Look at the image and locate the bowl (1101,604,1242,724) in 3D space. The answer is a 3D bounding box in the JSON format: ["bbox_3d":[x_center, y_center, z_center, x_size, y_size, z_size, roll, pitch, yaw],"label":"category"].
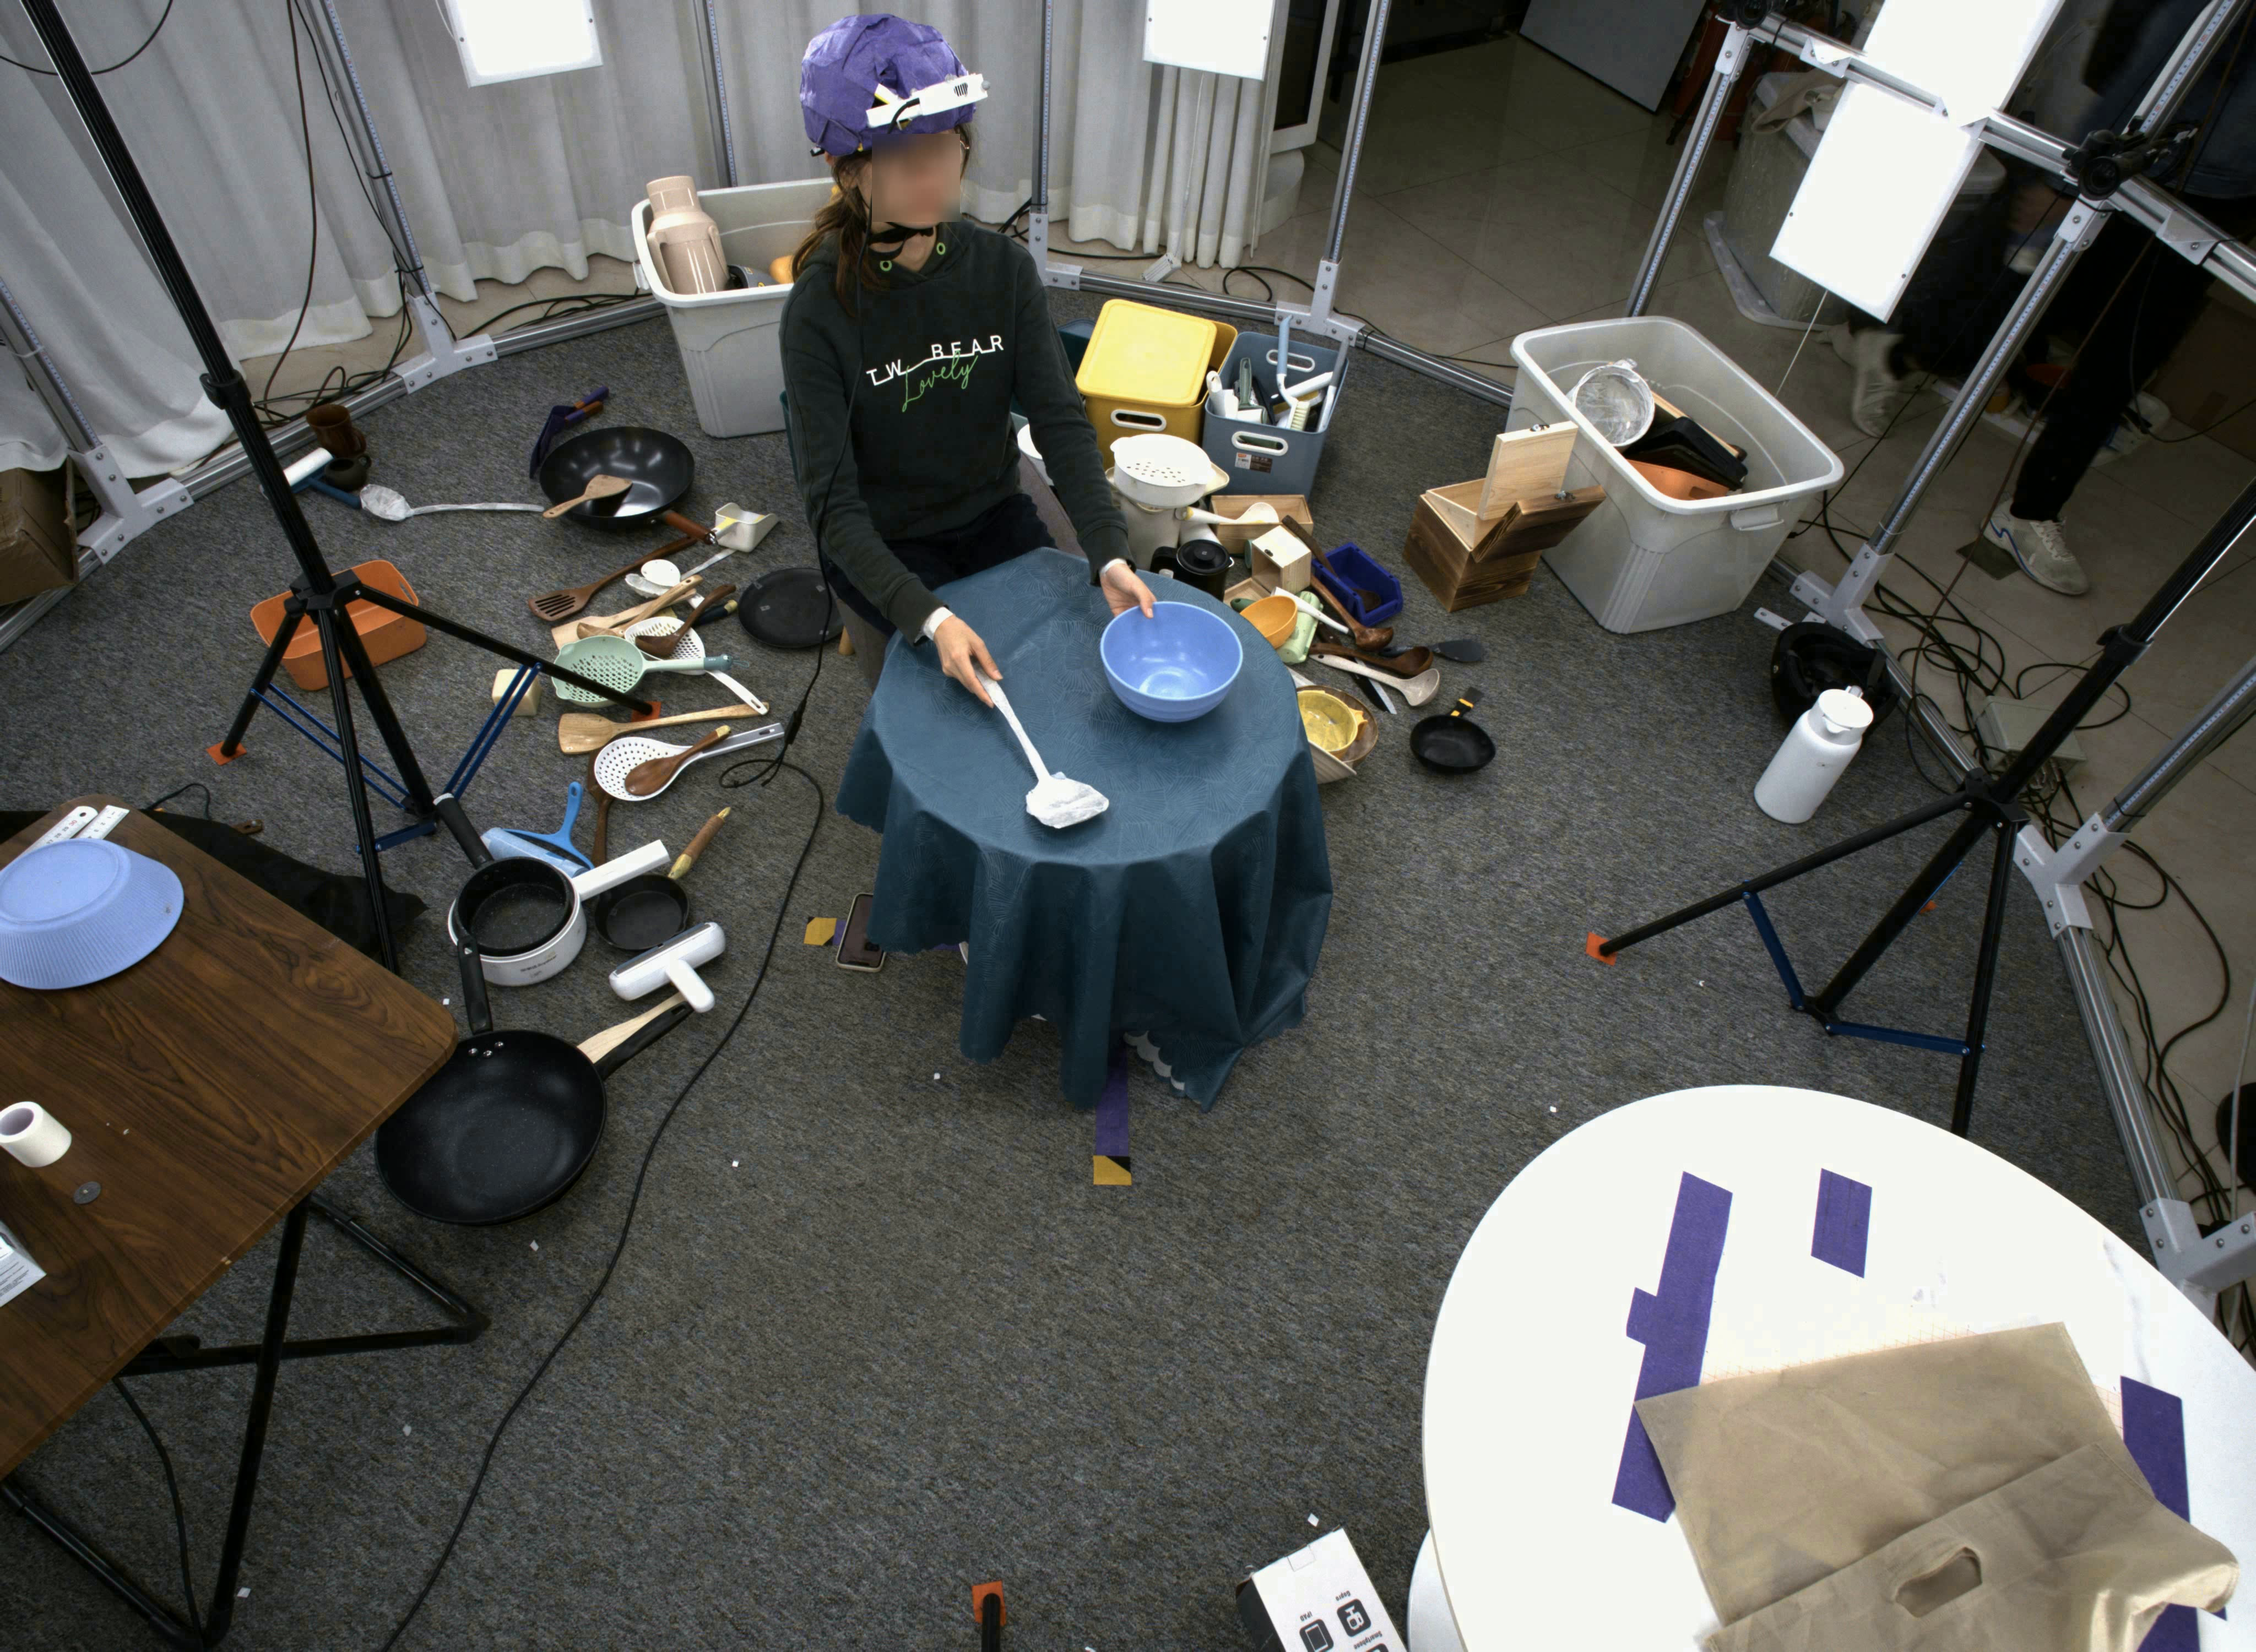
[{"bbox_3d":[0.058,-0.213,1.812,0.196,0.093,0.201,1,50,-2],"label":"bowl"}]

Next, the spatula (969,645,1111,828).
[{"bbox_3d":[-0.142,-0.132,1.750,0.099,0.044,0.372,-20,59,-20],"label":"spatula"}]
